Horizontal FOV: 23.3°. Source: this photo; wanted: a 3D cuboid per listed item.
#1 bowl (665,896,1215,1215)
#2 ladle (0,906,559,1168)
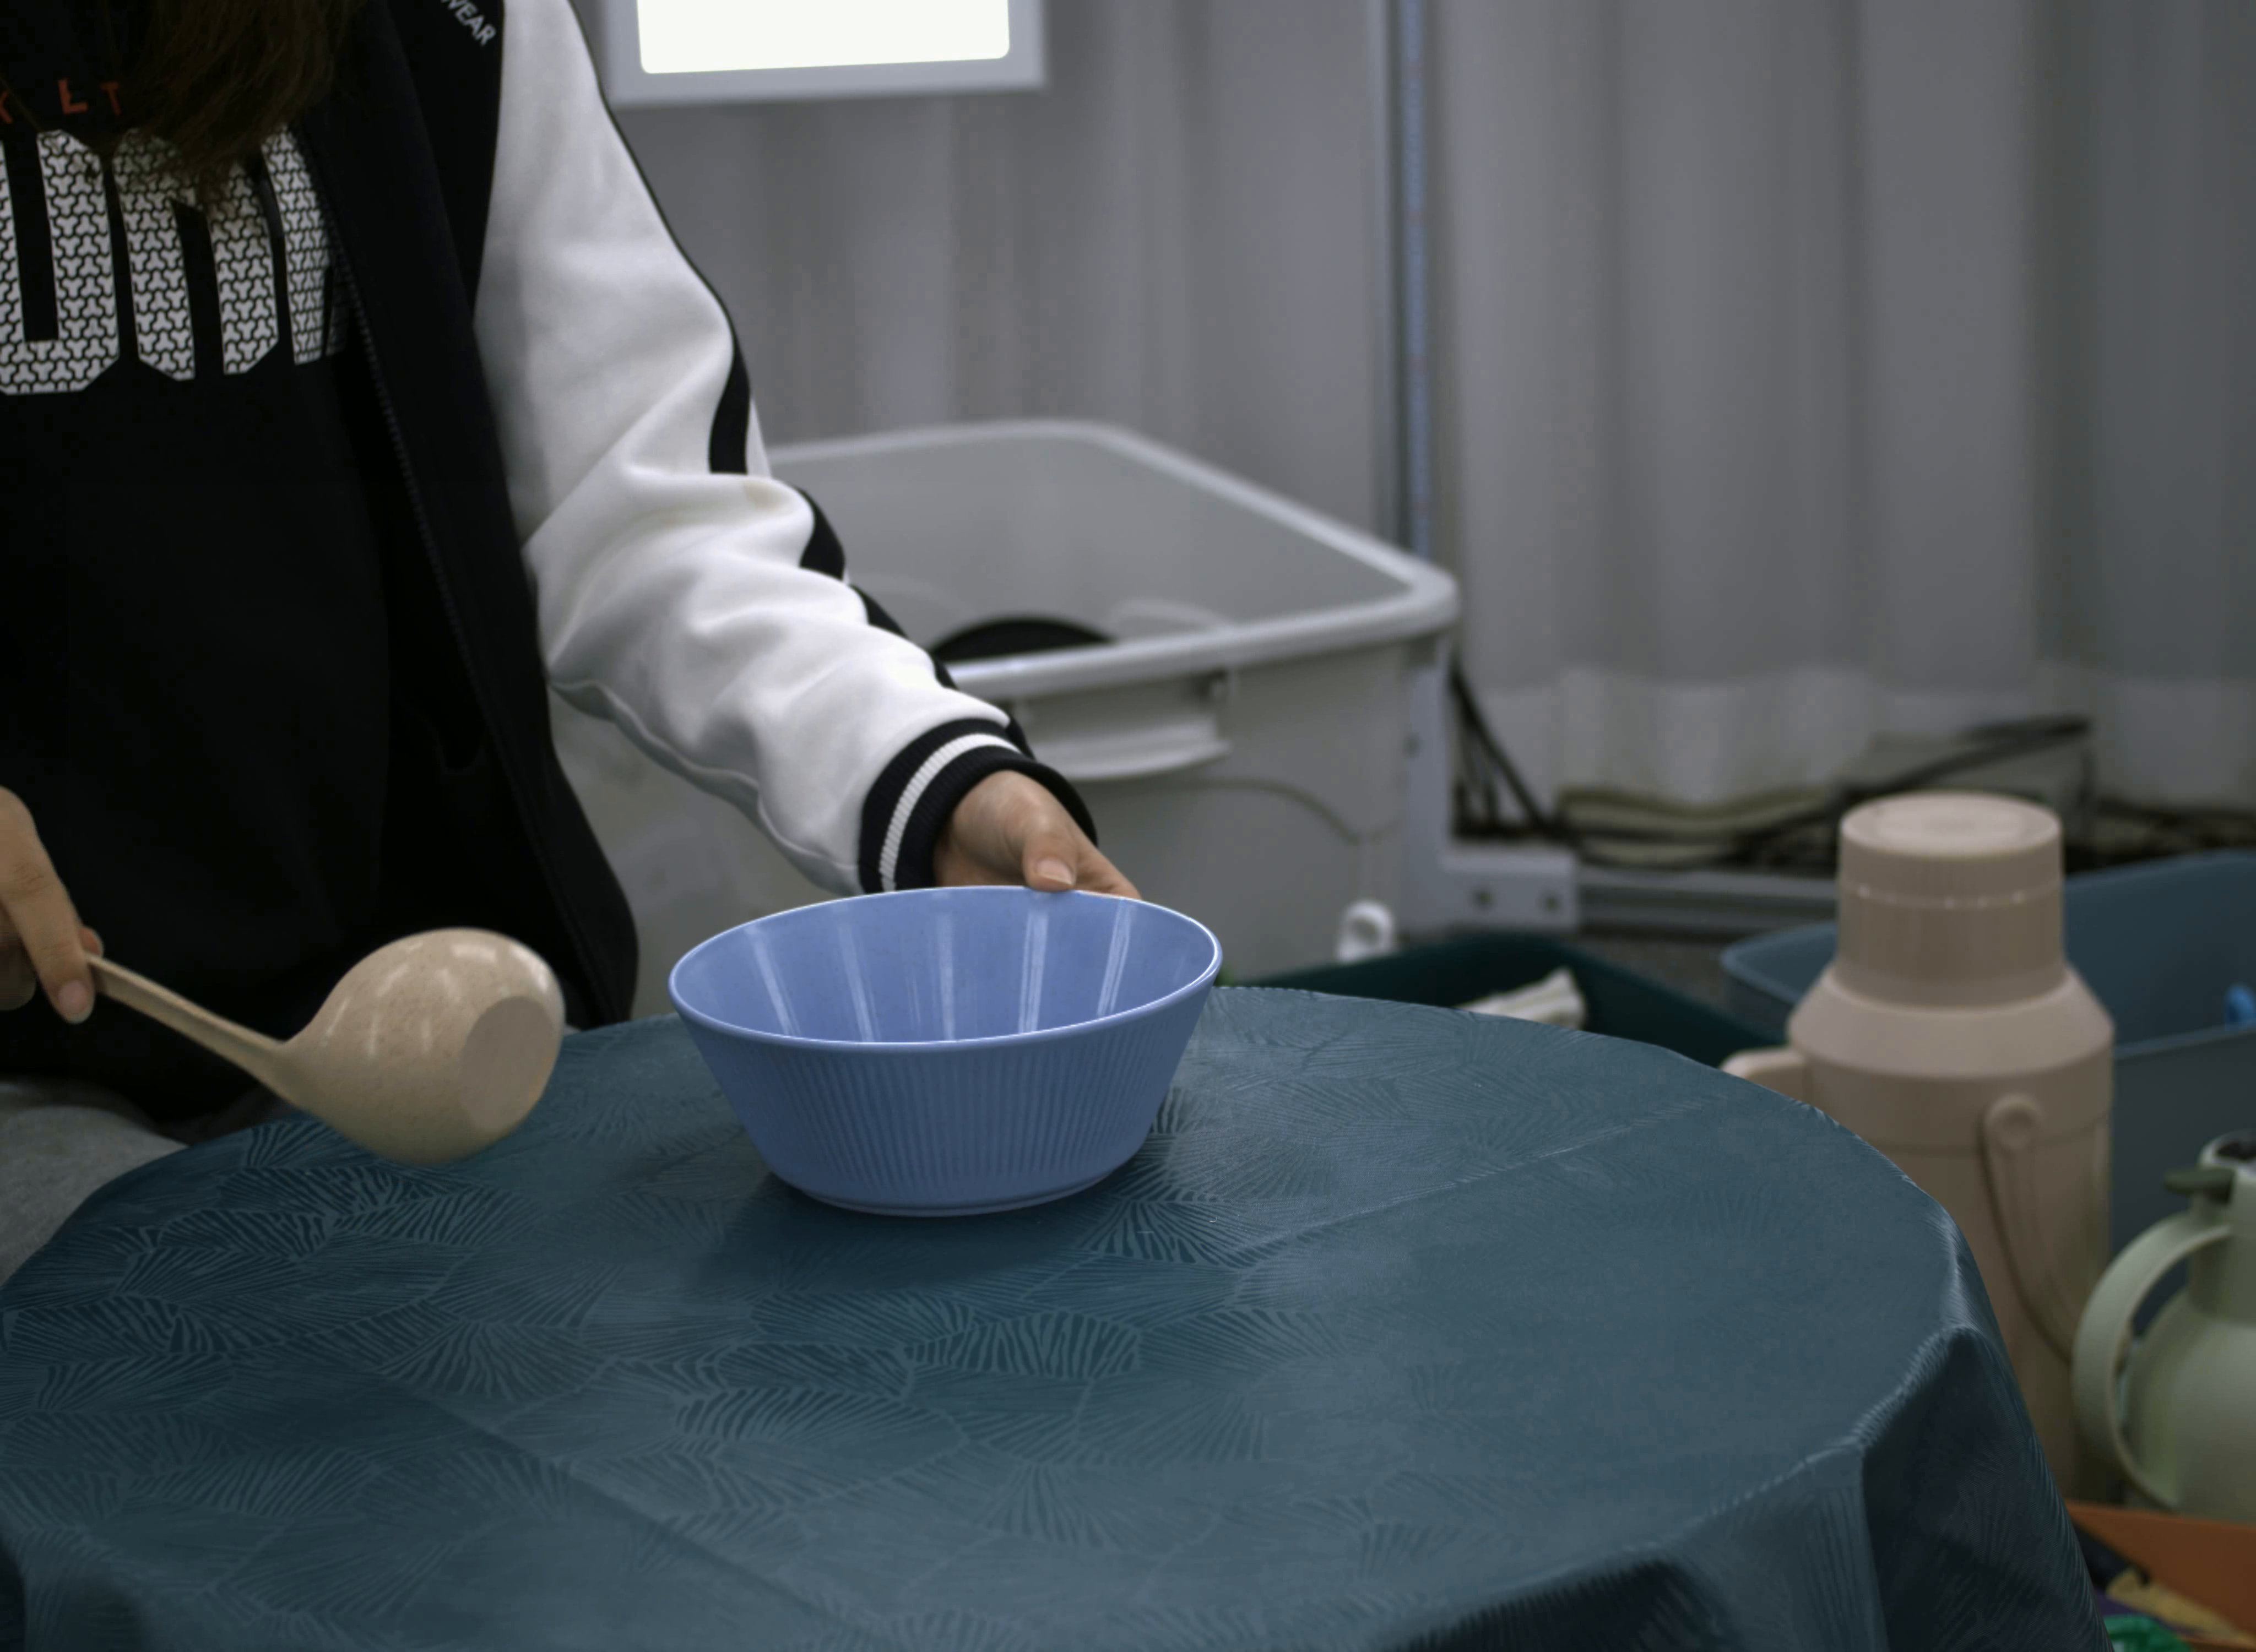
[{"bbox_3d":[-0.058,0.075,1.740,0.175,0.070,0.177,-2,14,0],"label":"bowl"},{"bbox_3d":[-0.273,0.035,1.632,0.256,0.071,0.073,21,53,37],"label":"ladle"}]
